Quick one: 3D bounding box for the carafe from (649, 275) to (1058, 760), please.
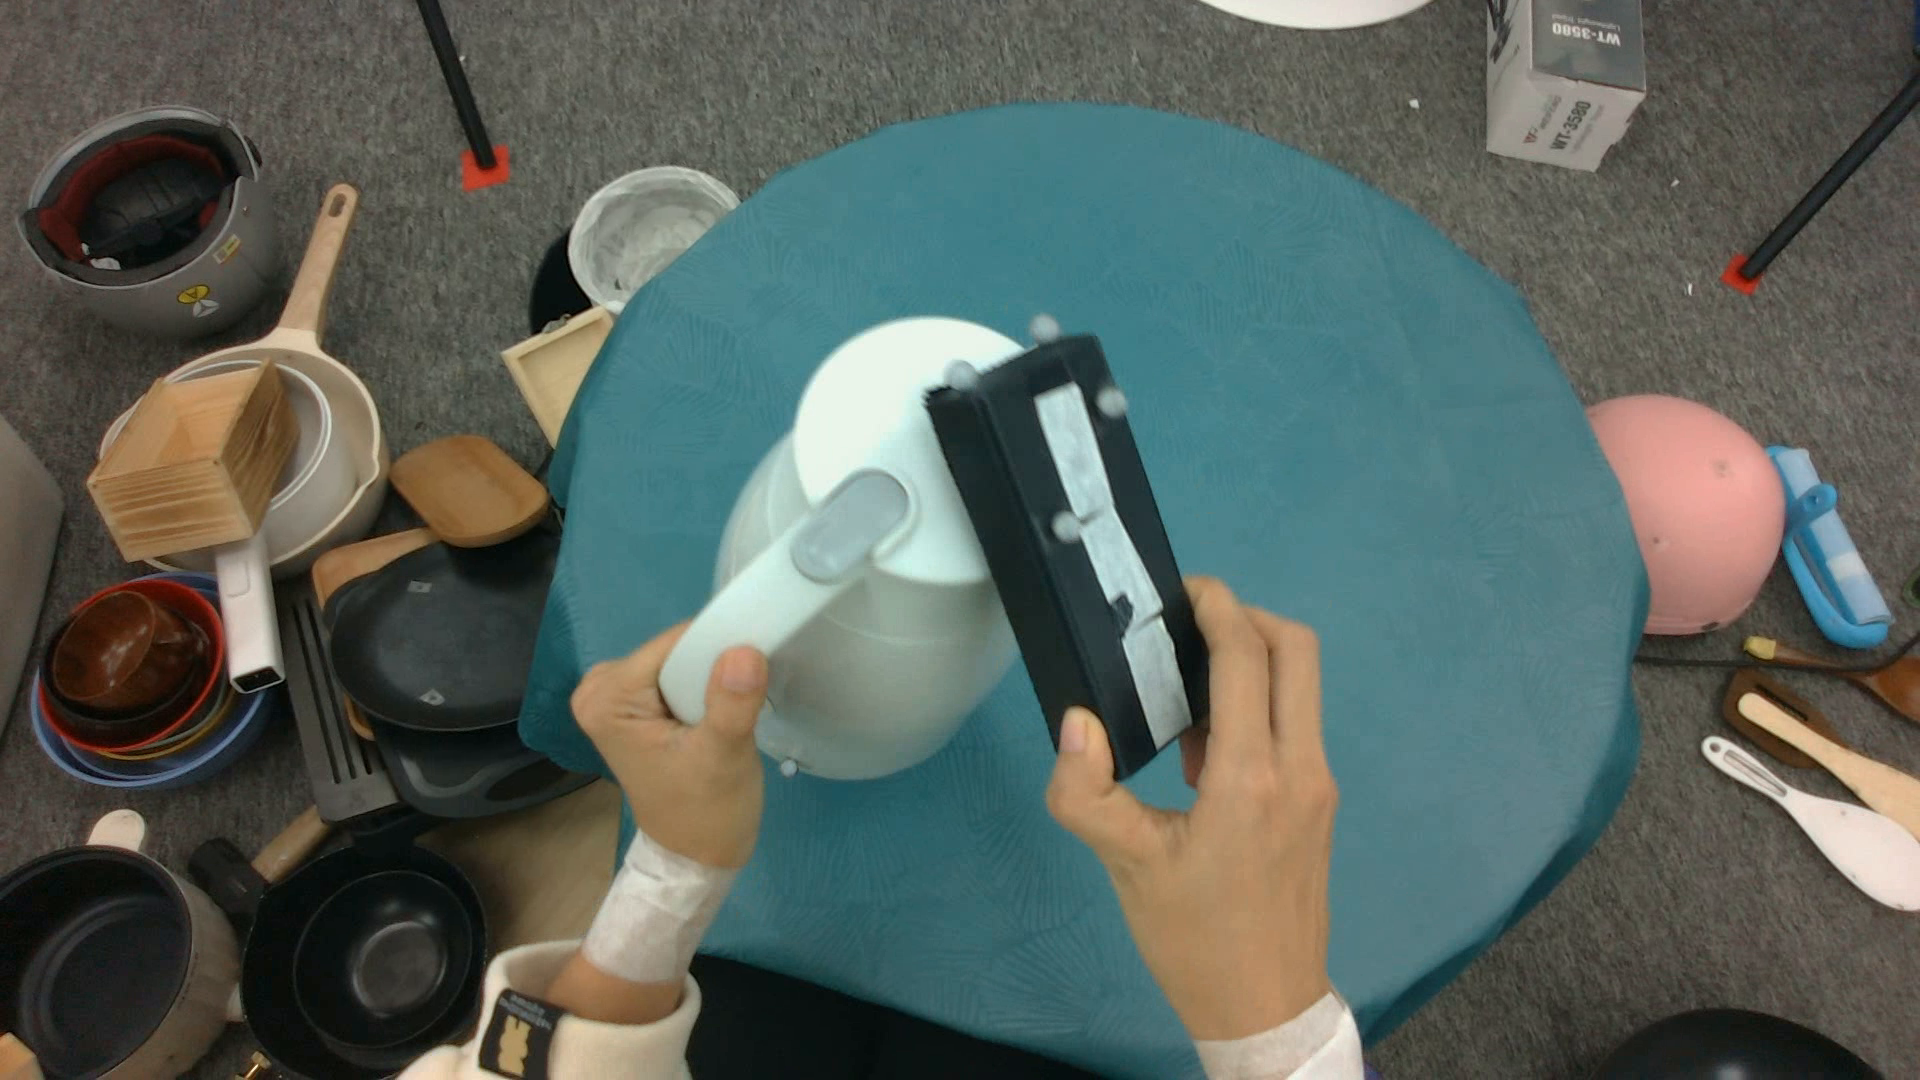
[{"bbox_3d":[-0.047,0.010,0.527,0.132,0.247,0.168,45,69,6],"label":"carafe"}]

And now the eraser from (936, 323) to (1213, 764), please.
[{"bbox_3d":[0.037,0.002,0.420,0.054,0.030,0.125,-31,110,-33],"label":"eraser"}]
